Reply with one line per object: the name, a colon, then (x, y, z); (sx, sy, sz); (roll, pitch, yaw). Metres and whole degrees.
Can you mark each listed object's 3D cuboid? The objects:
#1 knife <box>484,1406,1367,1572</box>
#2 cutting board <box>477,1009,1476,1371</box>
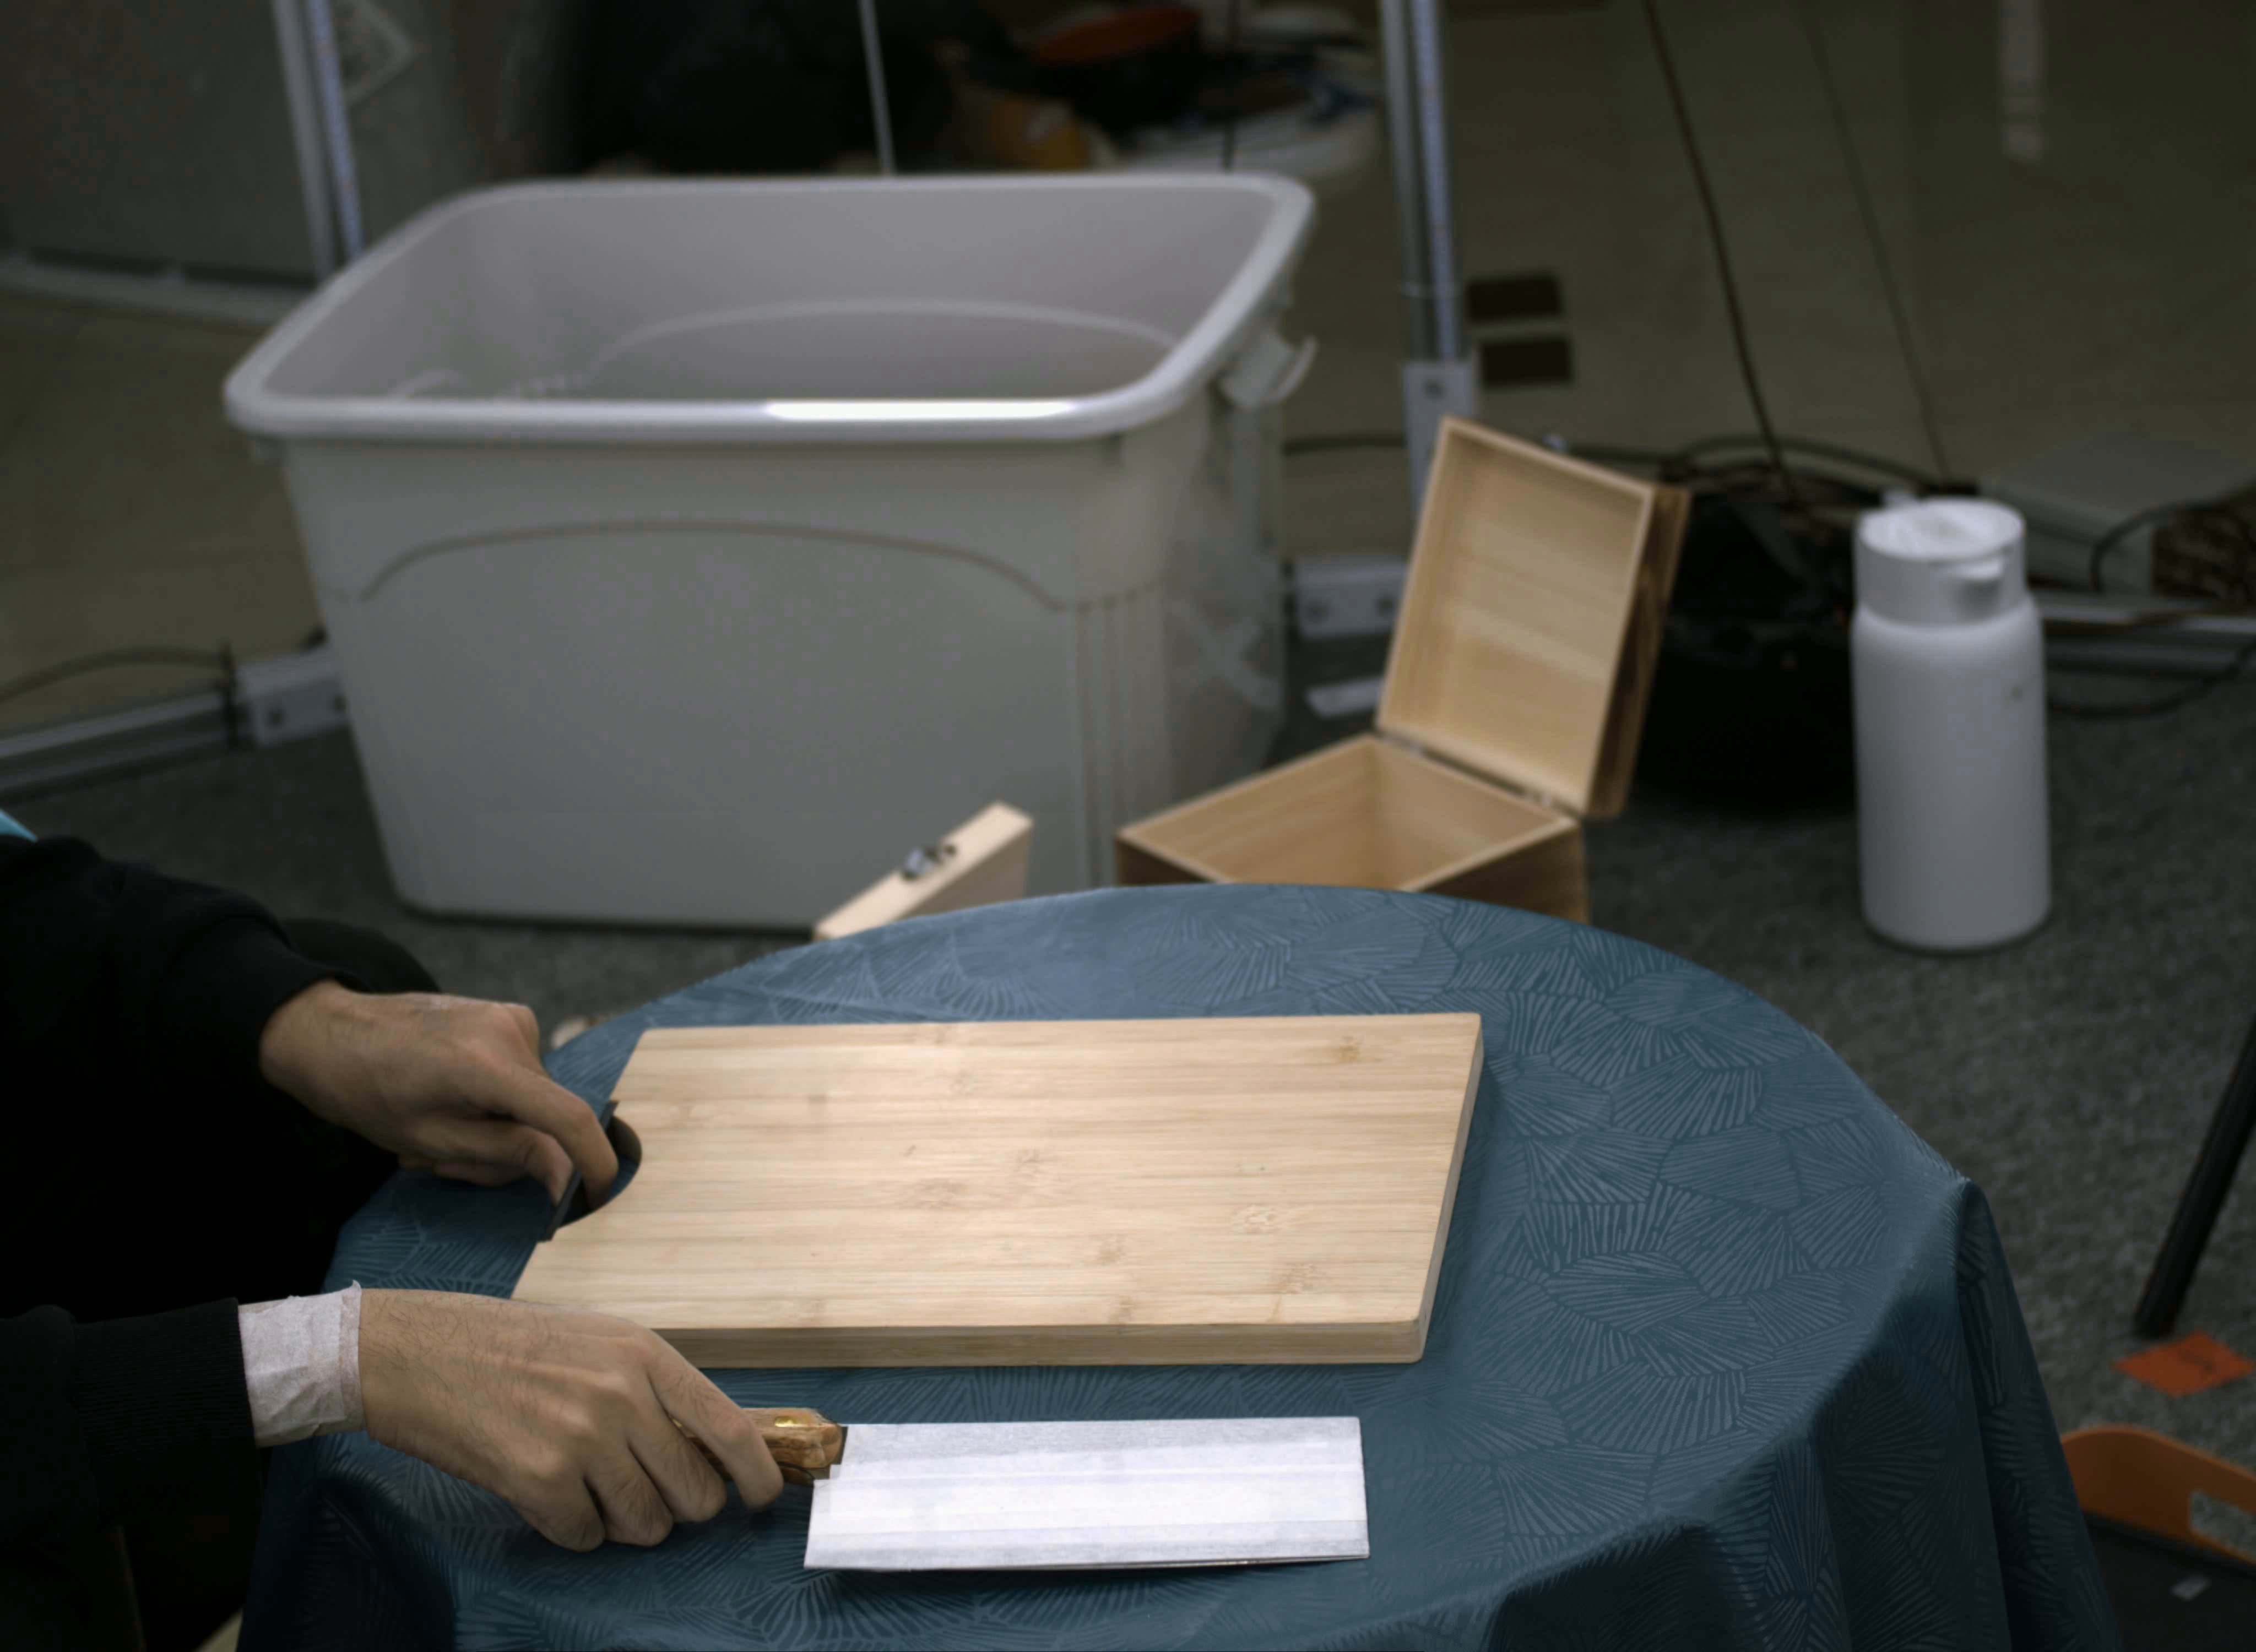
knife: (-0.071, 0.227, 1.943); (0.305, 0.021, 0.091); (-1, 26, 1)
cutting board: (-0.051, 0.136, 2.146); (0.348, 0.024, 0.247); (-2, 25, 10)
